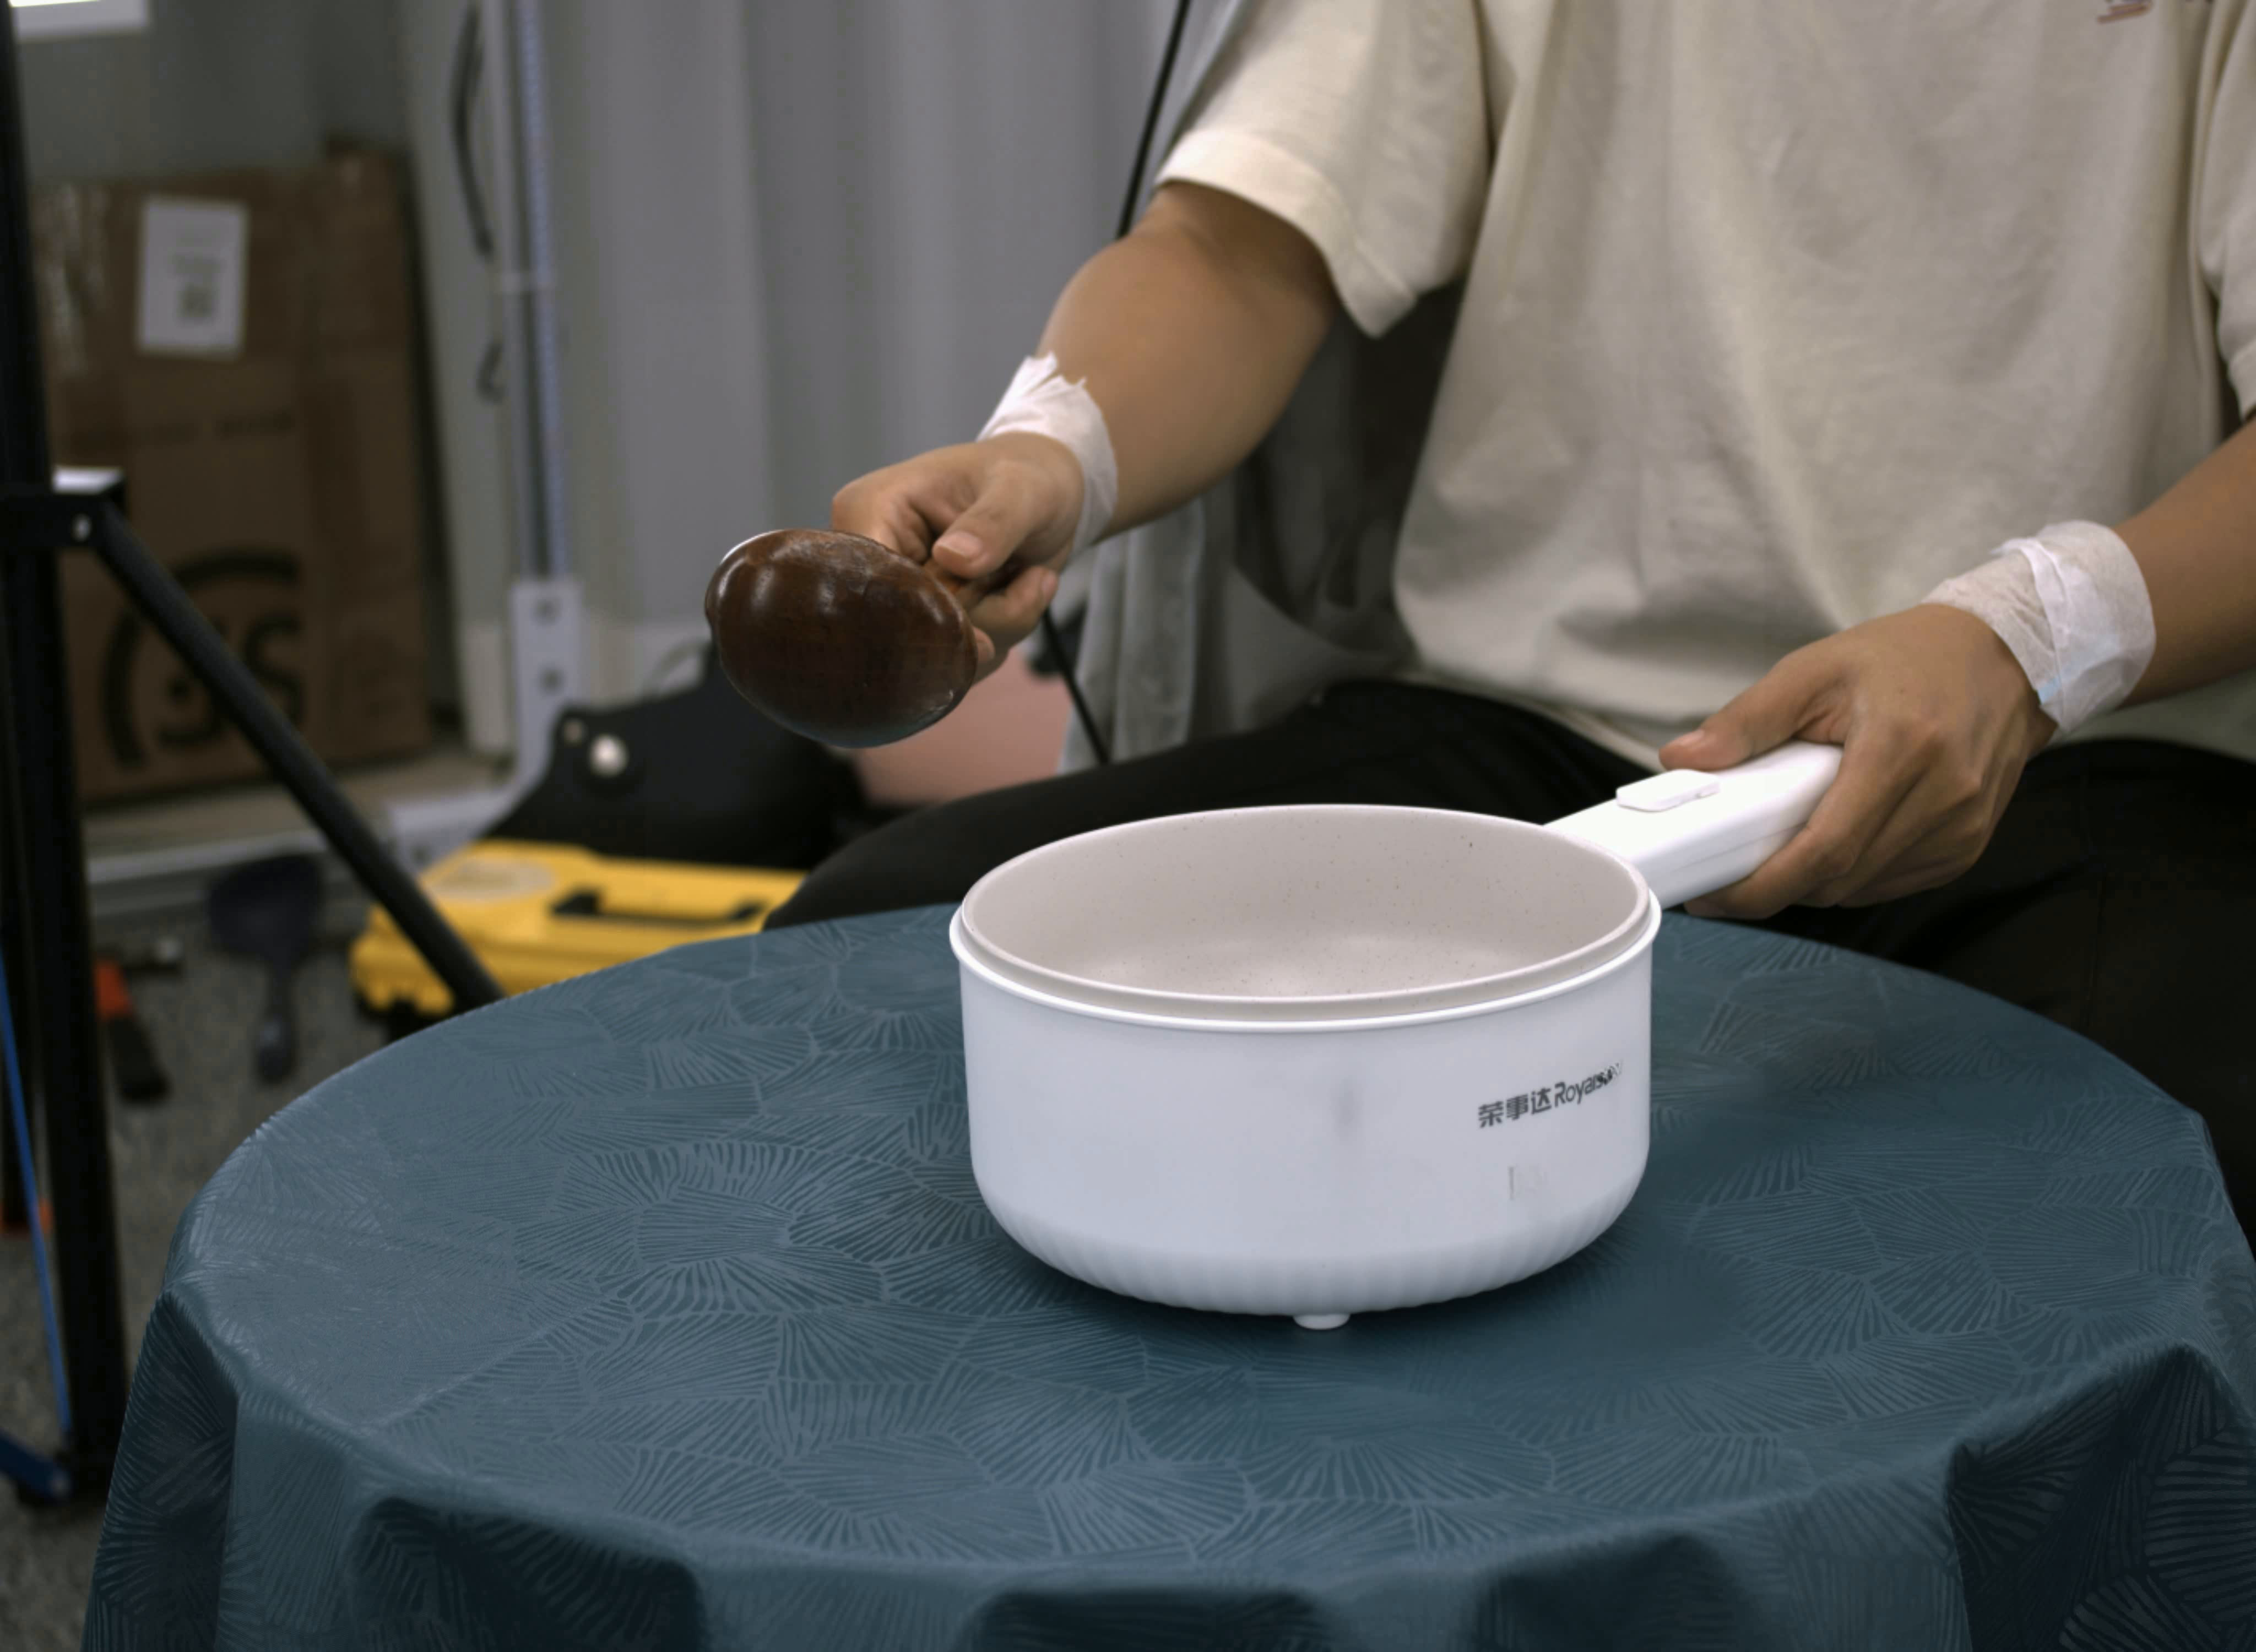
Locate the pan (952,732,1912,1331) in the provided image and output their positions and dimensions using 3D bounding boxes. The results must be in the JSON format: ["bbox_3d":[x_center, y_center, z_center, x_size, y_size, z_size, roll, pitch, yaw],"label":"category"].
[{"bbox_3d":[0.106,0.054,1.554,0.346,0.102,0.206,-16,19,-42],"label":"pan"}]

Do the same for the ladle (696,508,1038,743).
[{"bbox_3d":[-0.064,-0.081,1.628,0.082,0.077,0.272,23,18,7],"label":"ladle"}]
